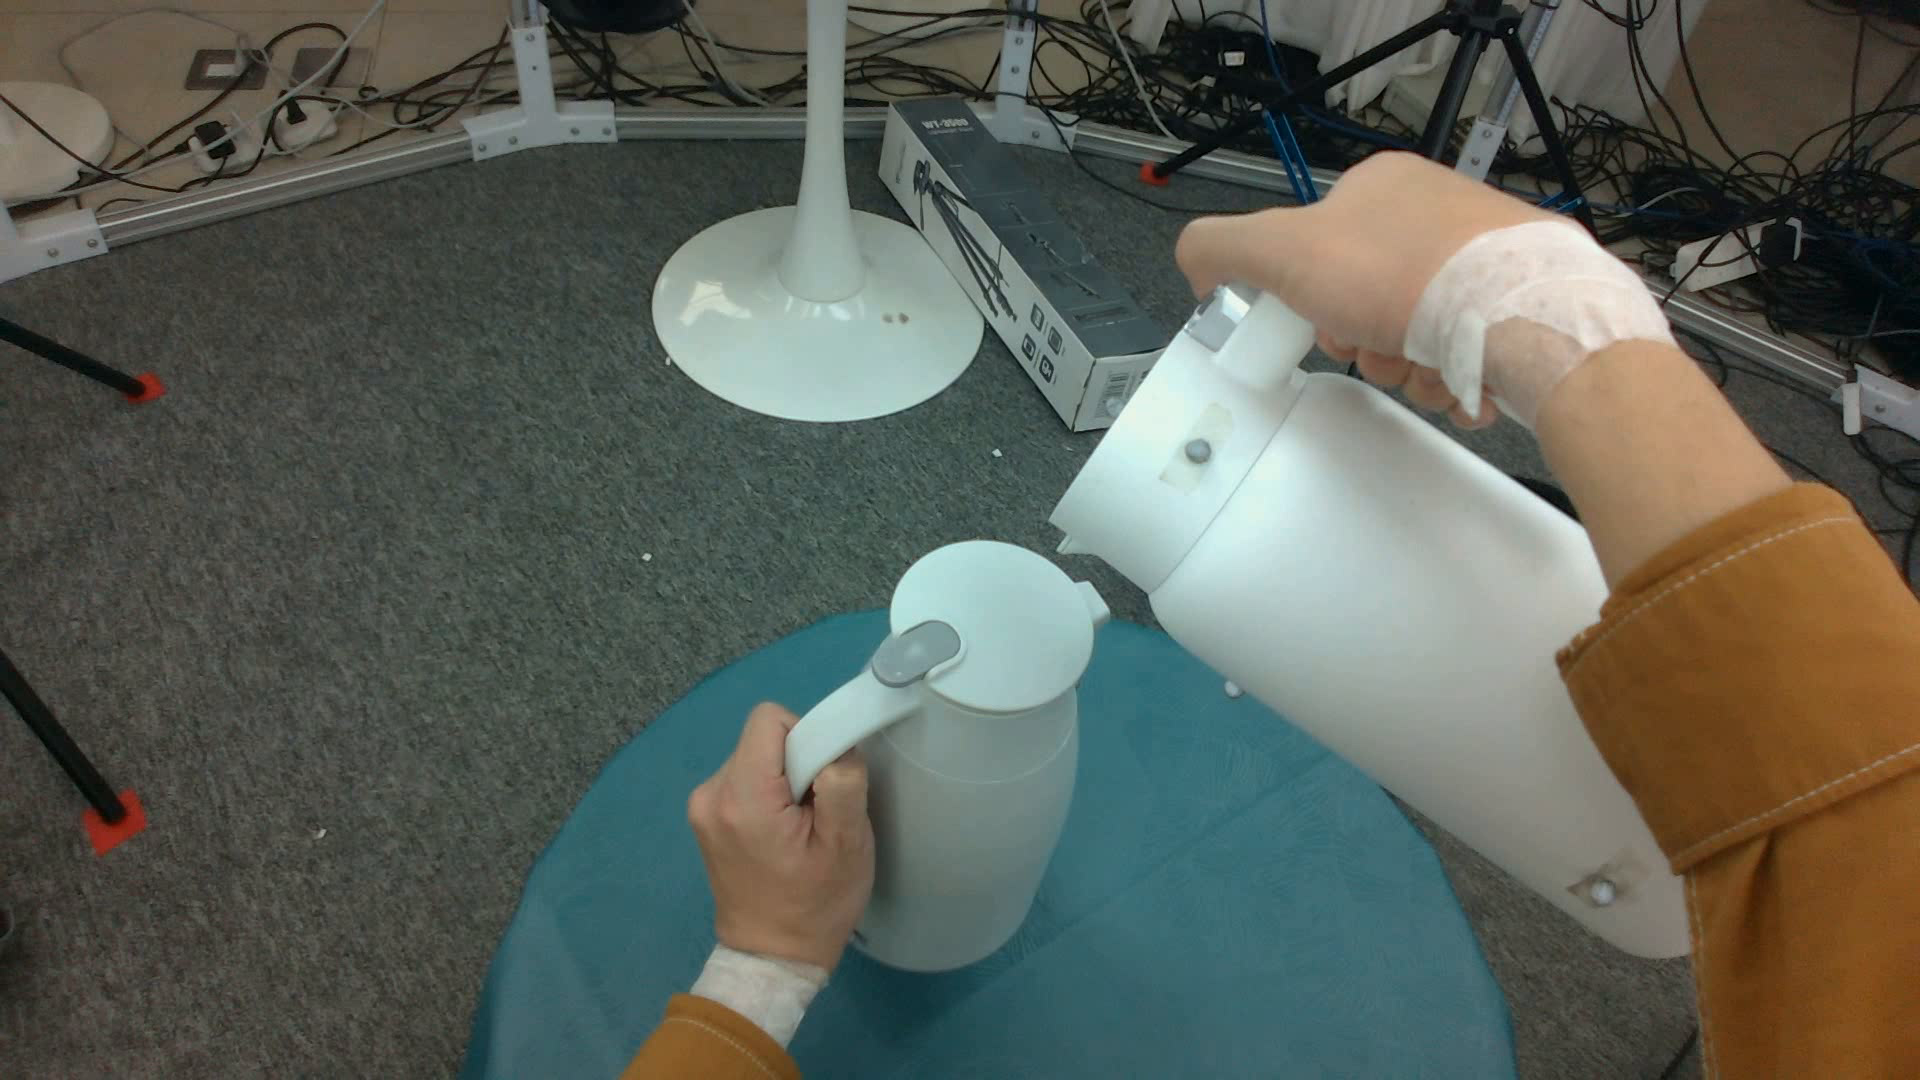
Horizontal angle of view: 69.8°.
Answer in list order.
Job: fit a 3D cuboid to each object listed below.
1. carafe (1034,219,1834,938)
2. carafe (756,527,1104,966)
[{"bbox_3d":[0.174,0.011,0.498,0.269,0.172,0.124,36,37,5],"label":"carafe"},{"bbox_3d":[-0.021,0.109,0.685,0.168,0.247,0.133,-20,57,-25],"label":"carafe"}]
